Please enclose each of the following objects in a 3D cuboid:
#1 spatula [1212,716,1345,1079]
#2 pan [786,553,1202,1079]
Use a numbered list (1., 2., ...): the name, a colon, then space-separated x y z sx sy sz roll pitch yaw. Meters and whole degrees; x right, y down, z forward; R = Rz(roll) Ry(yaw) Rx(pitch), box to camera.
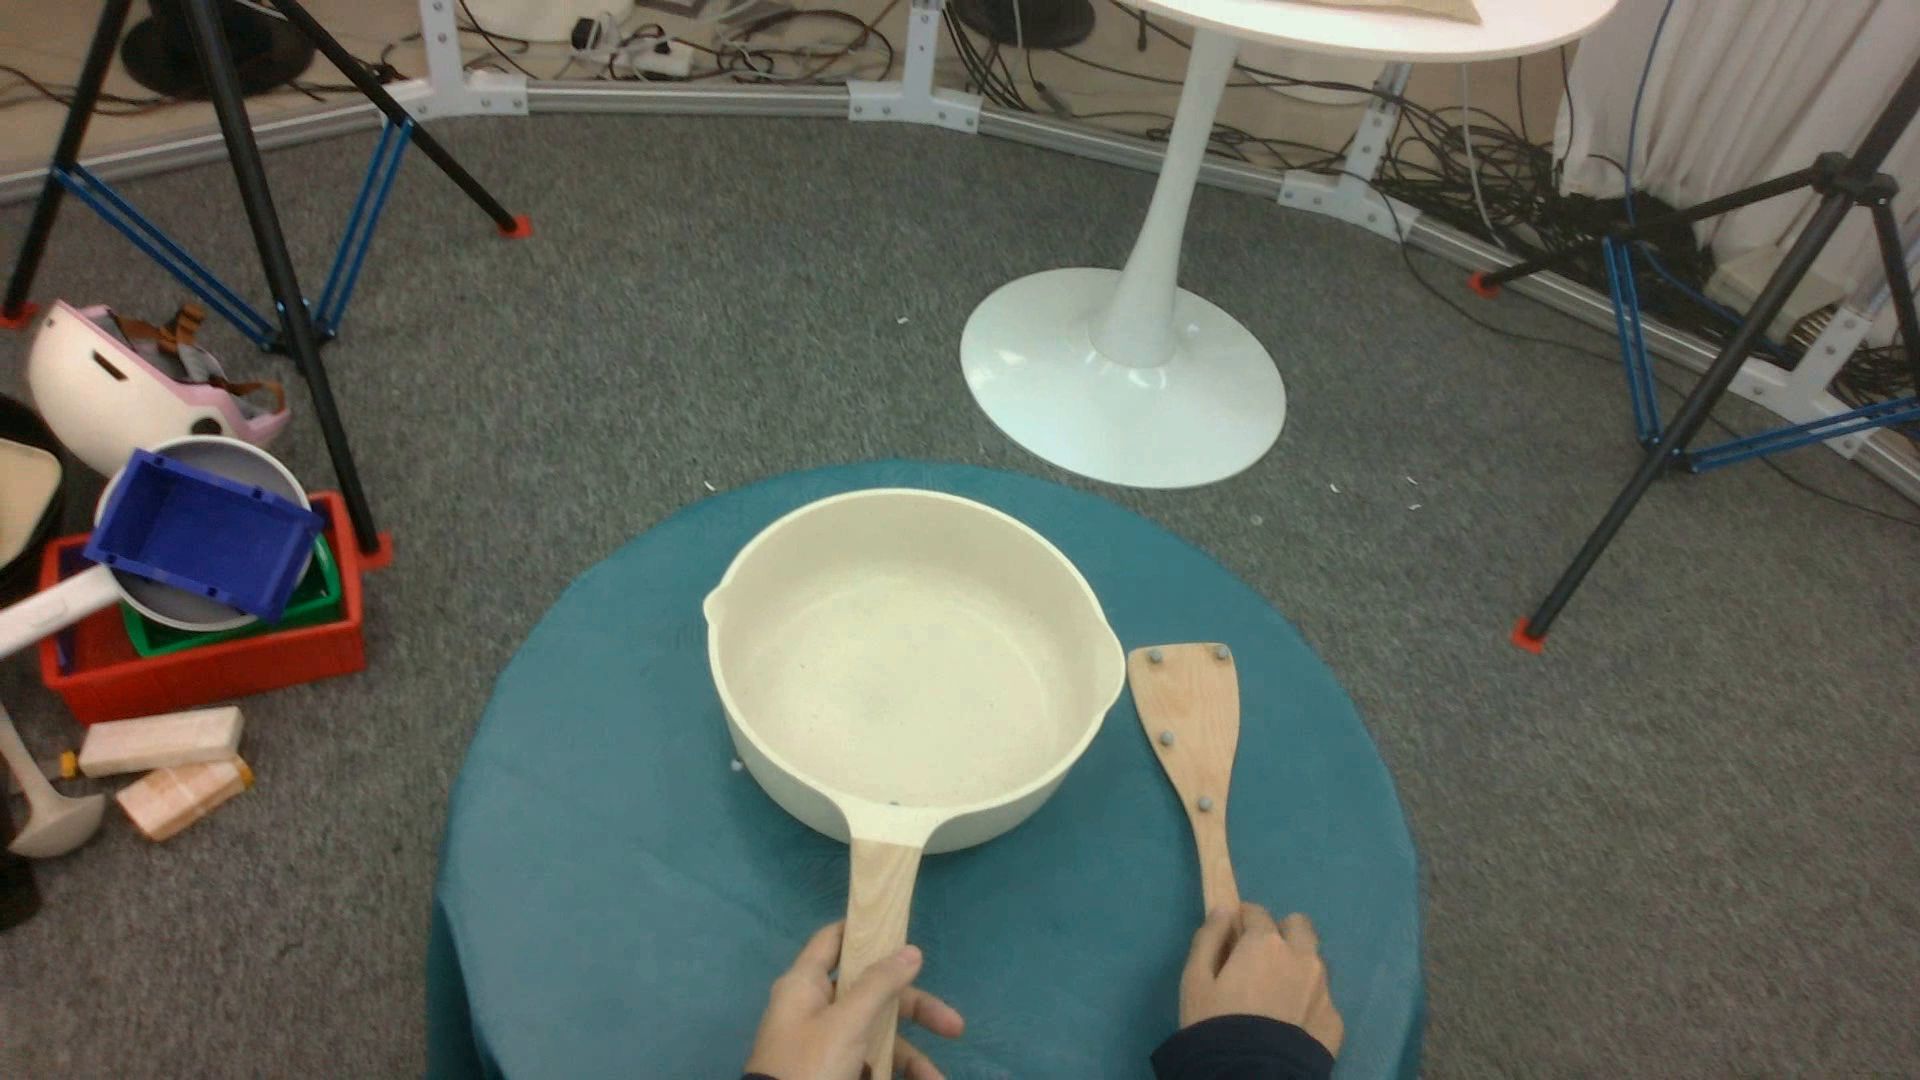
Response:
1. spatula: 0.205 0.227 0.849 0.080 0.016 0.329 7 37 0
2. pan: 0.005 0.187 0.815 0.263 0.101 0.437 10 45 1
